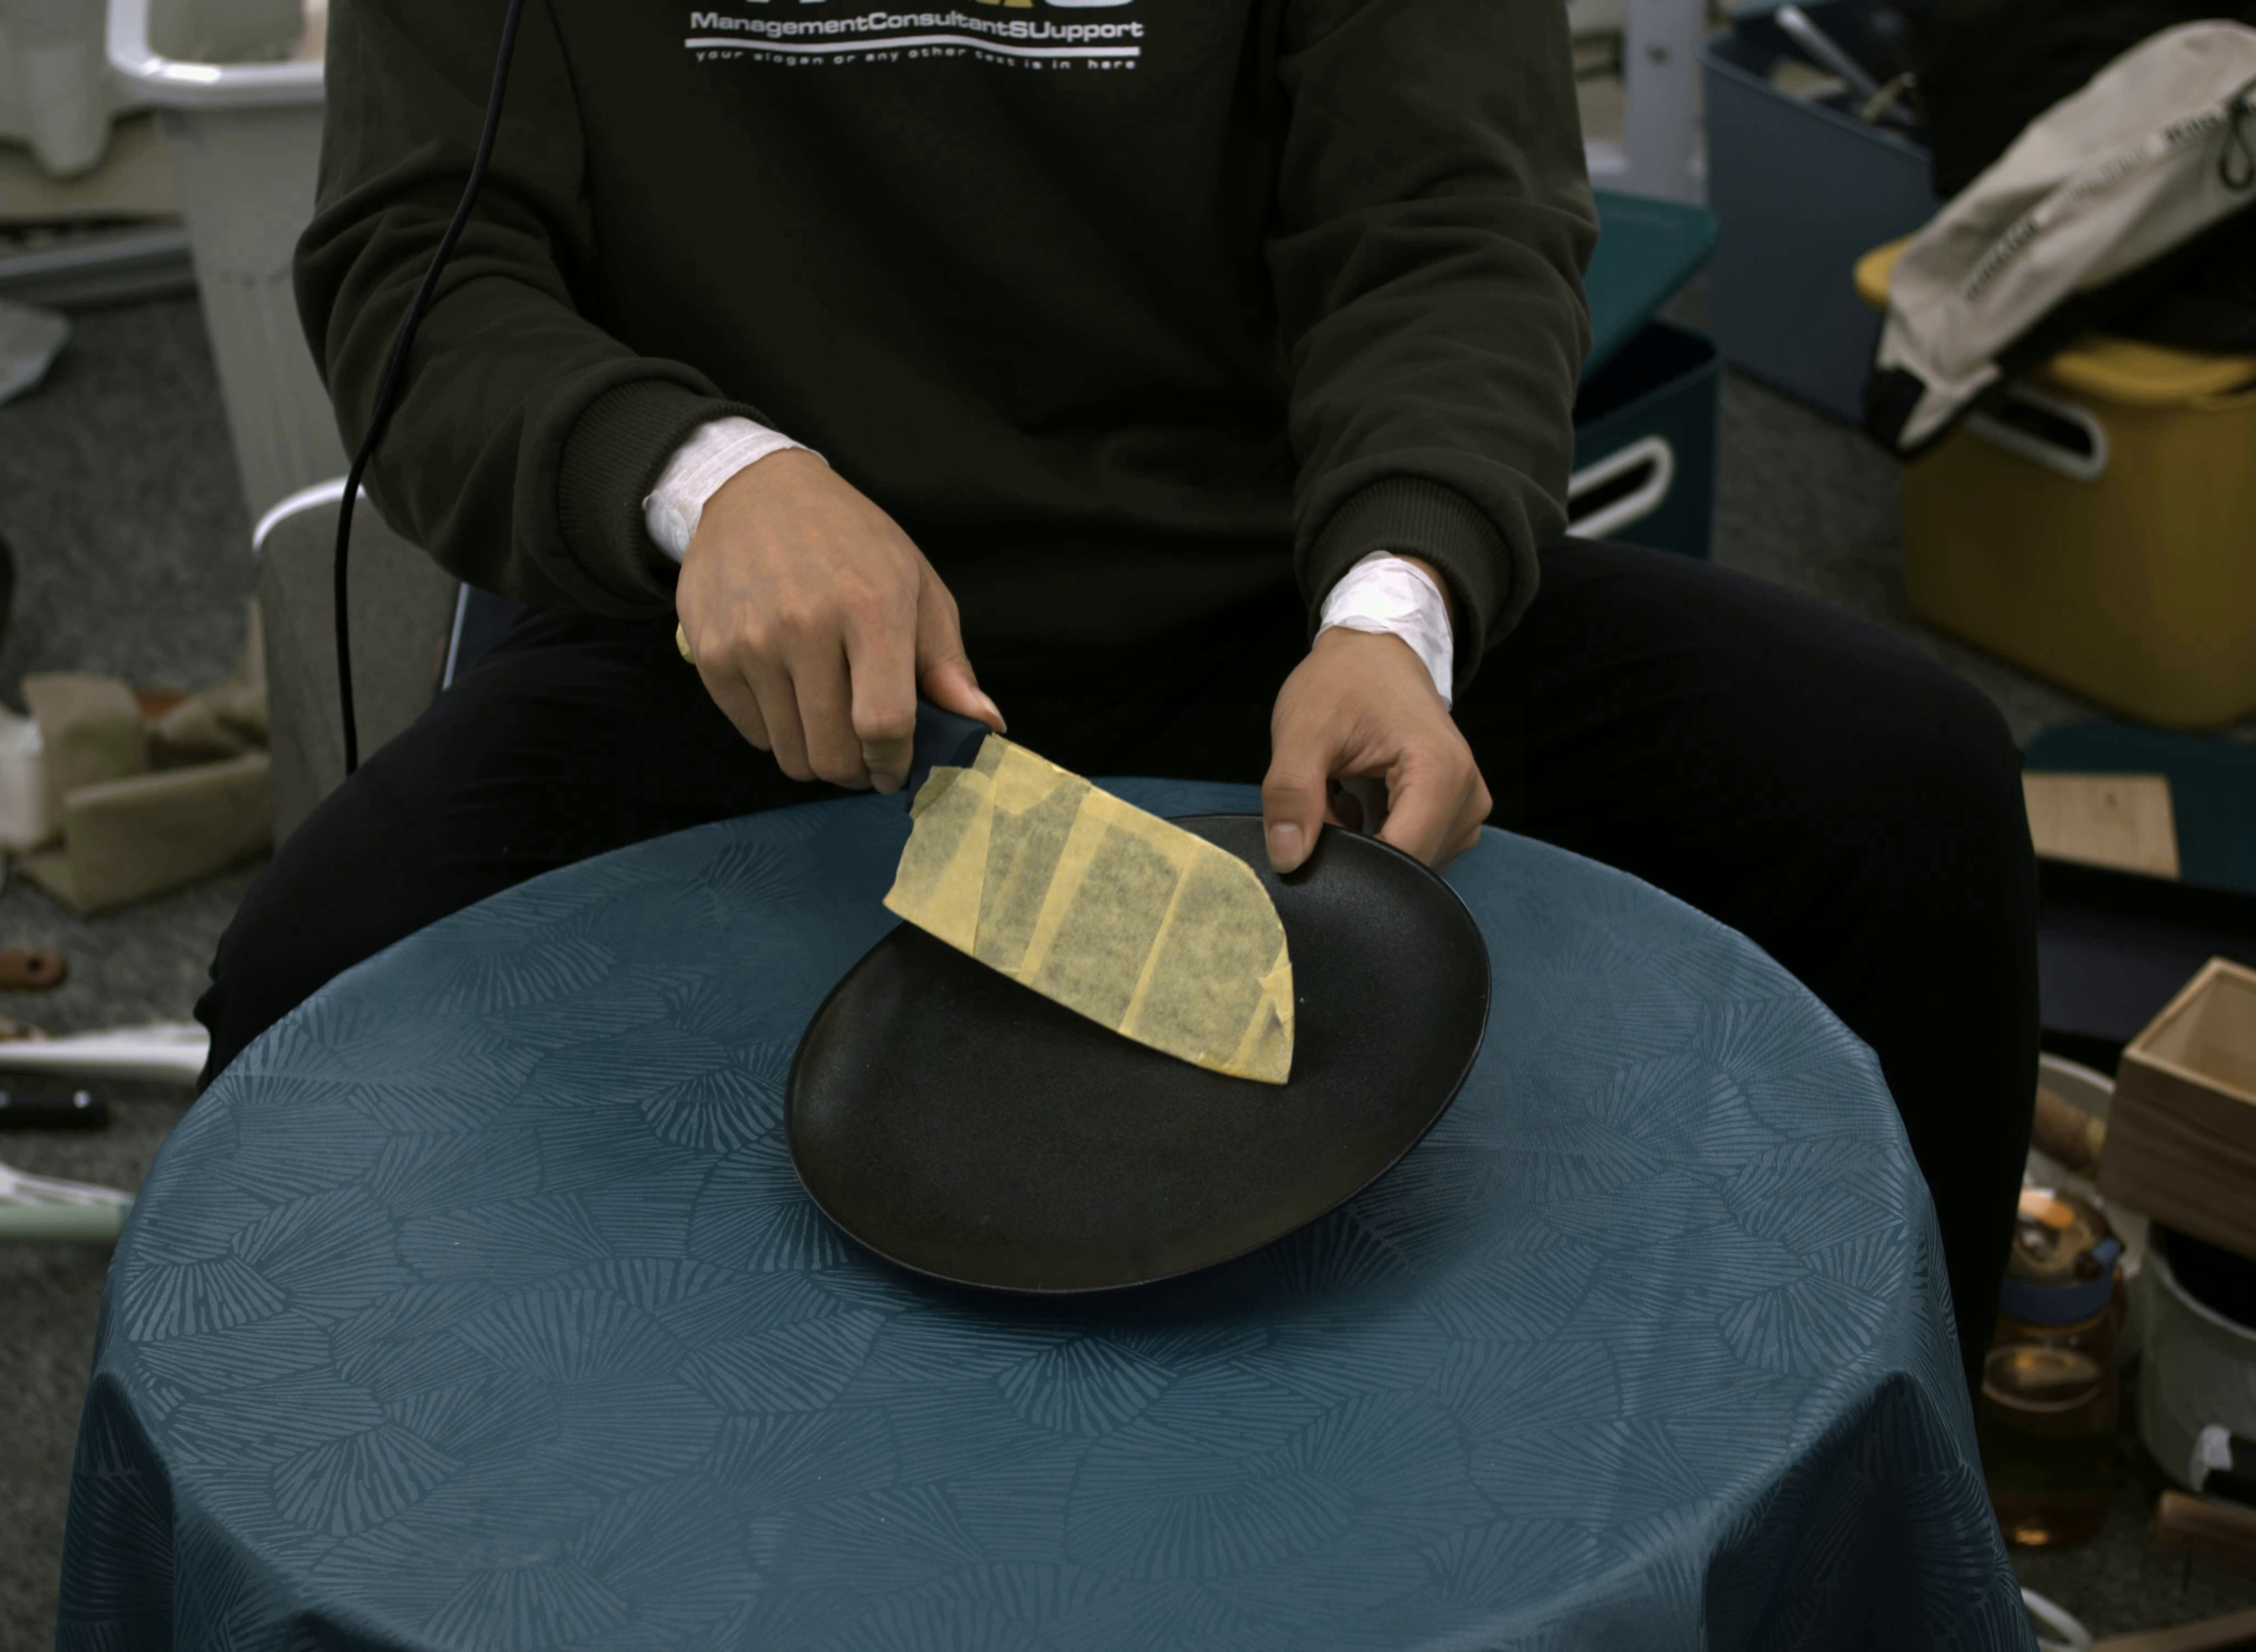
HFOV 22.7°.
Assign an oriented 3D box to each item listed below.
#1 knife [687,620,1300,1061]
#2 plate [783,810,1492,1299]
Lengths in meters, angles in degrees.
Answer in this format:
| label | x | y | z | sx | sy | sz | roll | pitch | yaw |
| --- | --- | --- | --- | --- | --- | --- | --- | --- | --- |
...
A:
| label | x | y | z | sx | sy | sz | roll | pitch | yaw |
| --- | --- | --- | --- | --- | --- | --- | --- | --- | --- |
| knife | -0.051 | 0.002 | 1.926 | 0.290 | 0.081 | 0.027 | 30 | 7 | 32 |
| plate | 0.004 | 0.079 | 1.874 | 0.243 | 0.023 | 0.249 | -10 | 36 | 8 |
